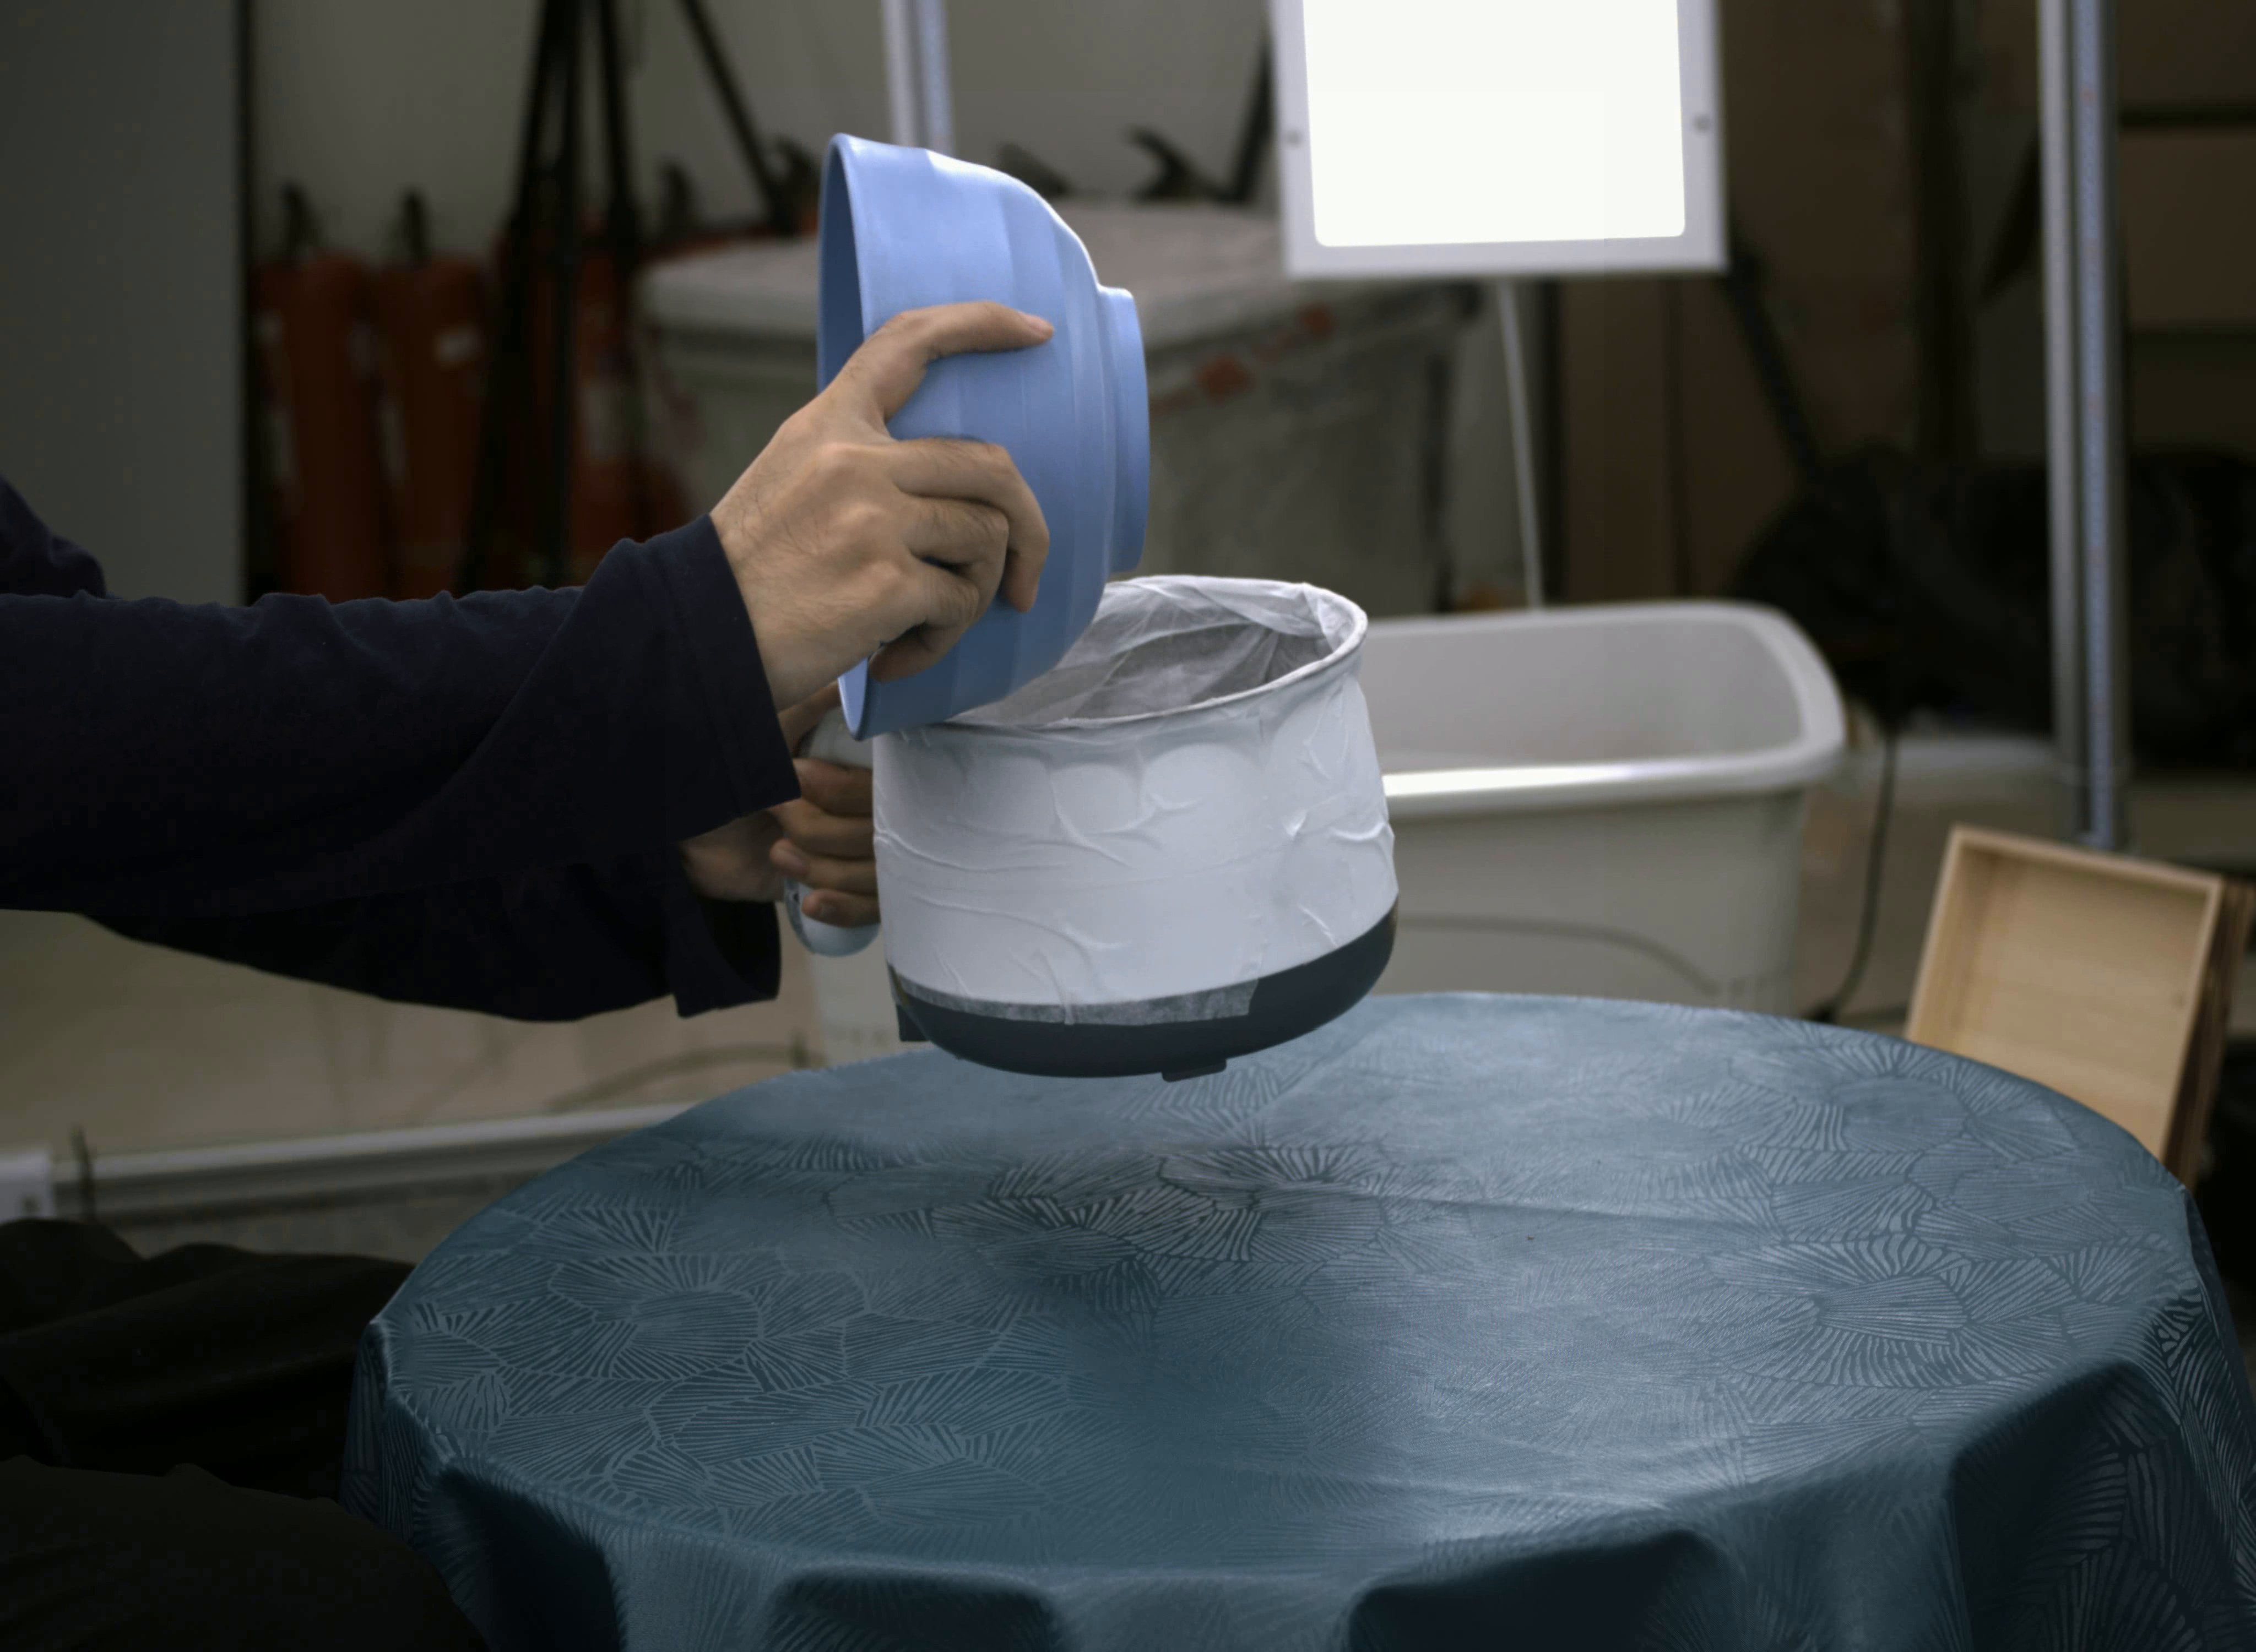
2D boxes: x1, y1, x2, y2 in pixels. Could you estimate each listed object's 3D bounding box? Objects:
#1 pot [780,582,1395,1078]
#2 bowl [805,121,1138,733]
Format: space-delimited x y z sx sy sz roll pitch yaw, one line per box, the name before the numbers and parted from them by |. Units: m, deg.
pot | -0.023 -0.001 1.886 0.238 0.137 0.174 4 18 33
bowl | -0.049 -0.129 1.782 0.094 0.197 0.197 0 13 -8
